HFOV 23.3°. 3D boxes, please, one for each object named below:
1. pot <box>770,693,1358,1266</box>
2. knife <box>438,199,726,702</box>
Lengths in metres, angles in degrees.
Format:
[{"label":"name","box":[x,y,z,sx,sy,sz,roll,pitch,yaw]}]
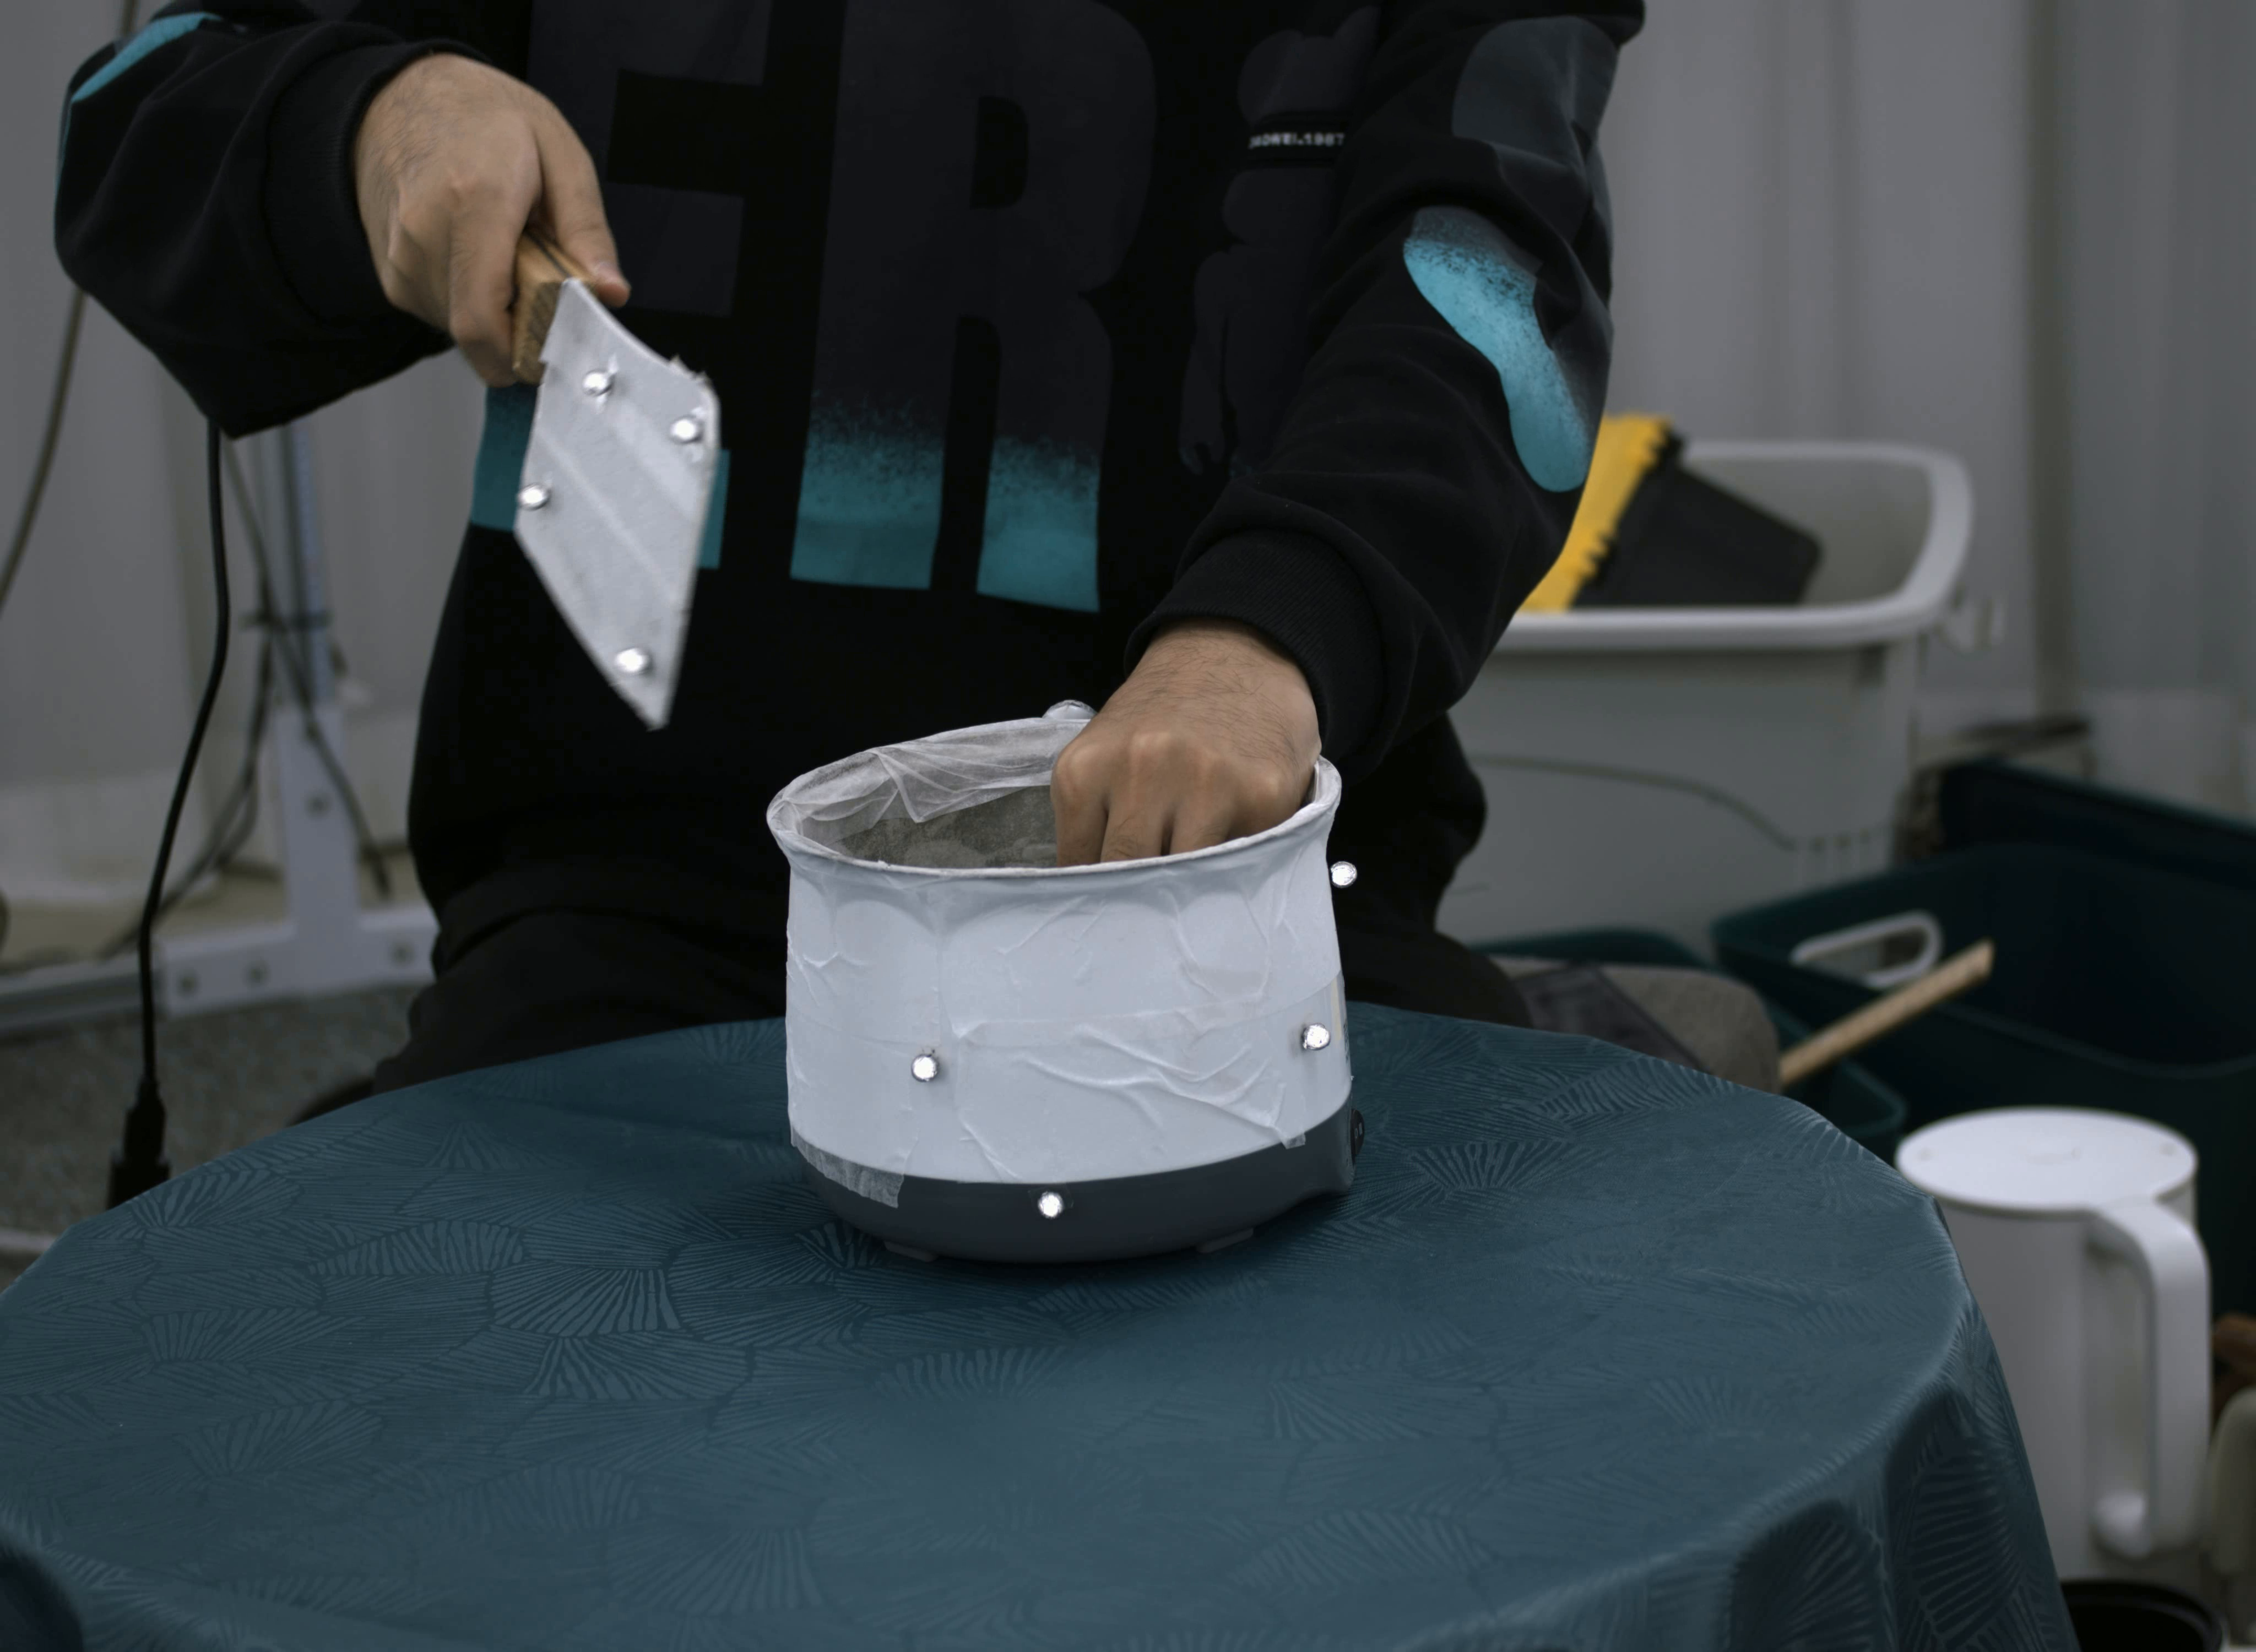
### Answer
[{"label":"pot","box":[-0.018,0.043,1.720,0.178,0.136,0.235,-2,16,2]},{"label":"knife","box":[-0.170,-0.134,1.703,0.021,0.113,0.319,6,22,-22]}]
